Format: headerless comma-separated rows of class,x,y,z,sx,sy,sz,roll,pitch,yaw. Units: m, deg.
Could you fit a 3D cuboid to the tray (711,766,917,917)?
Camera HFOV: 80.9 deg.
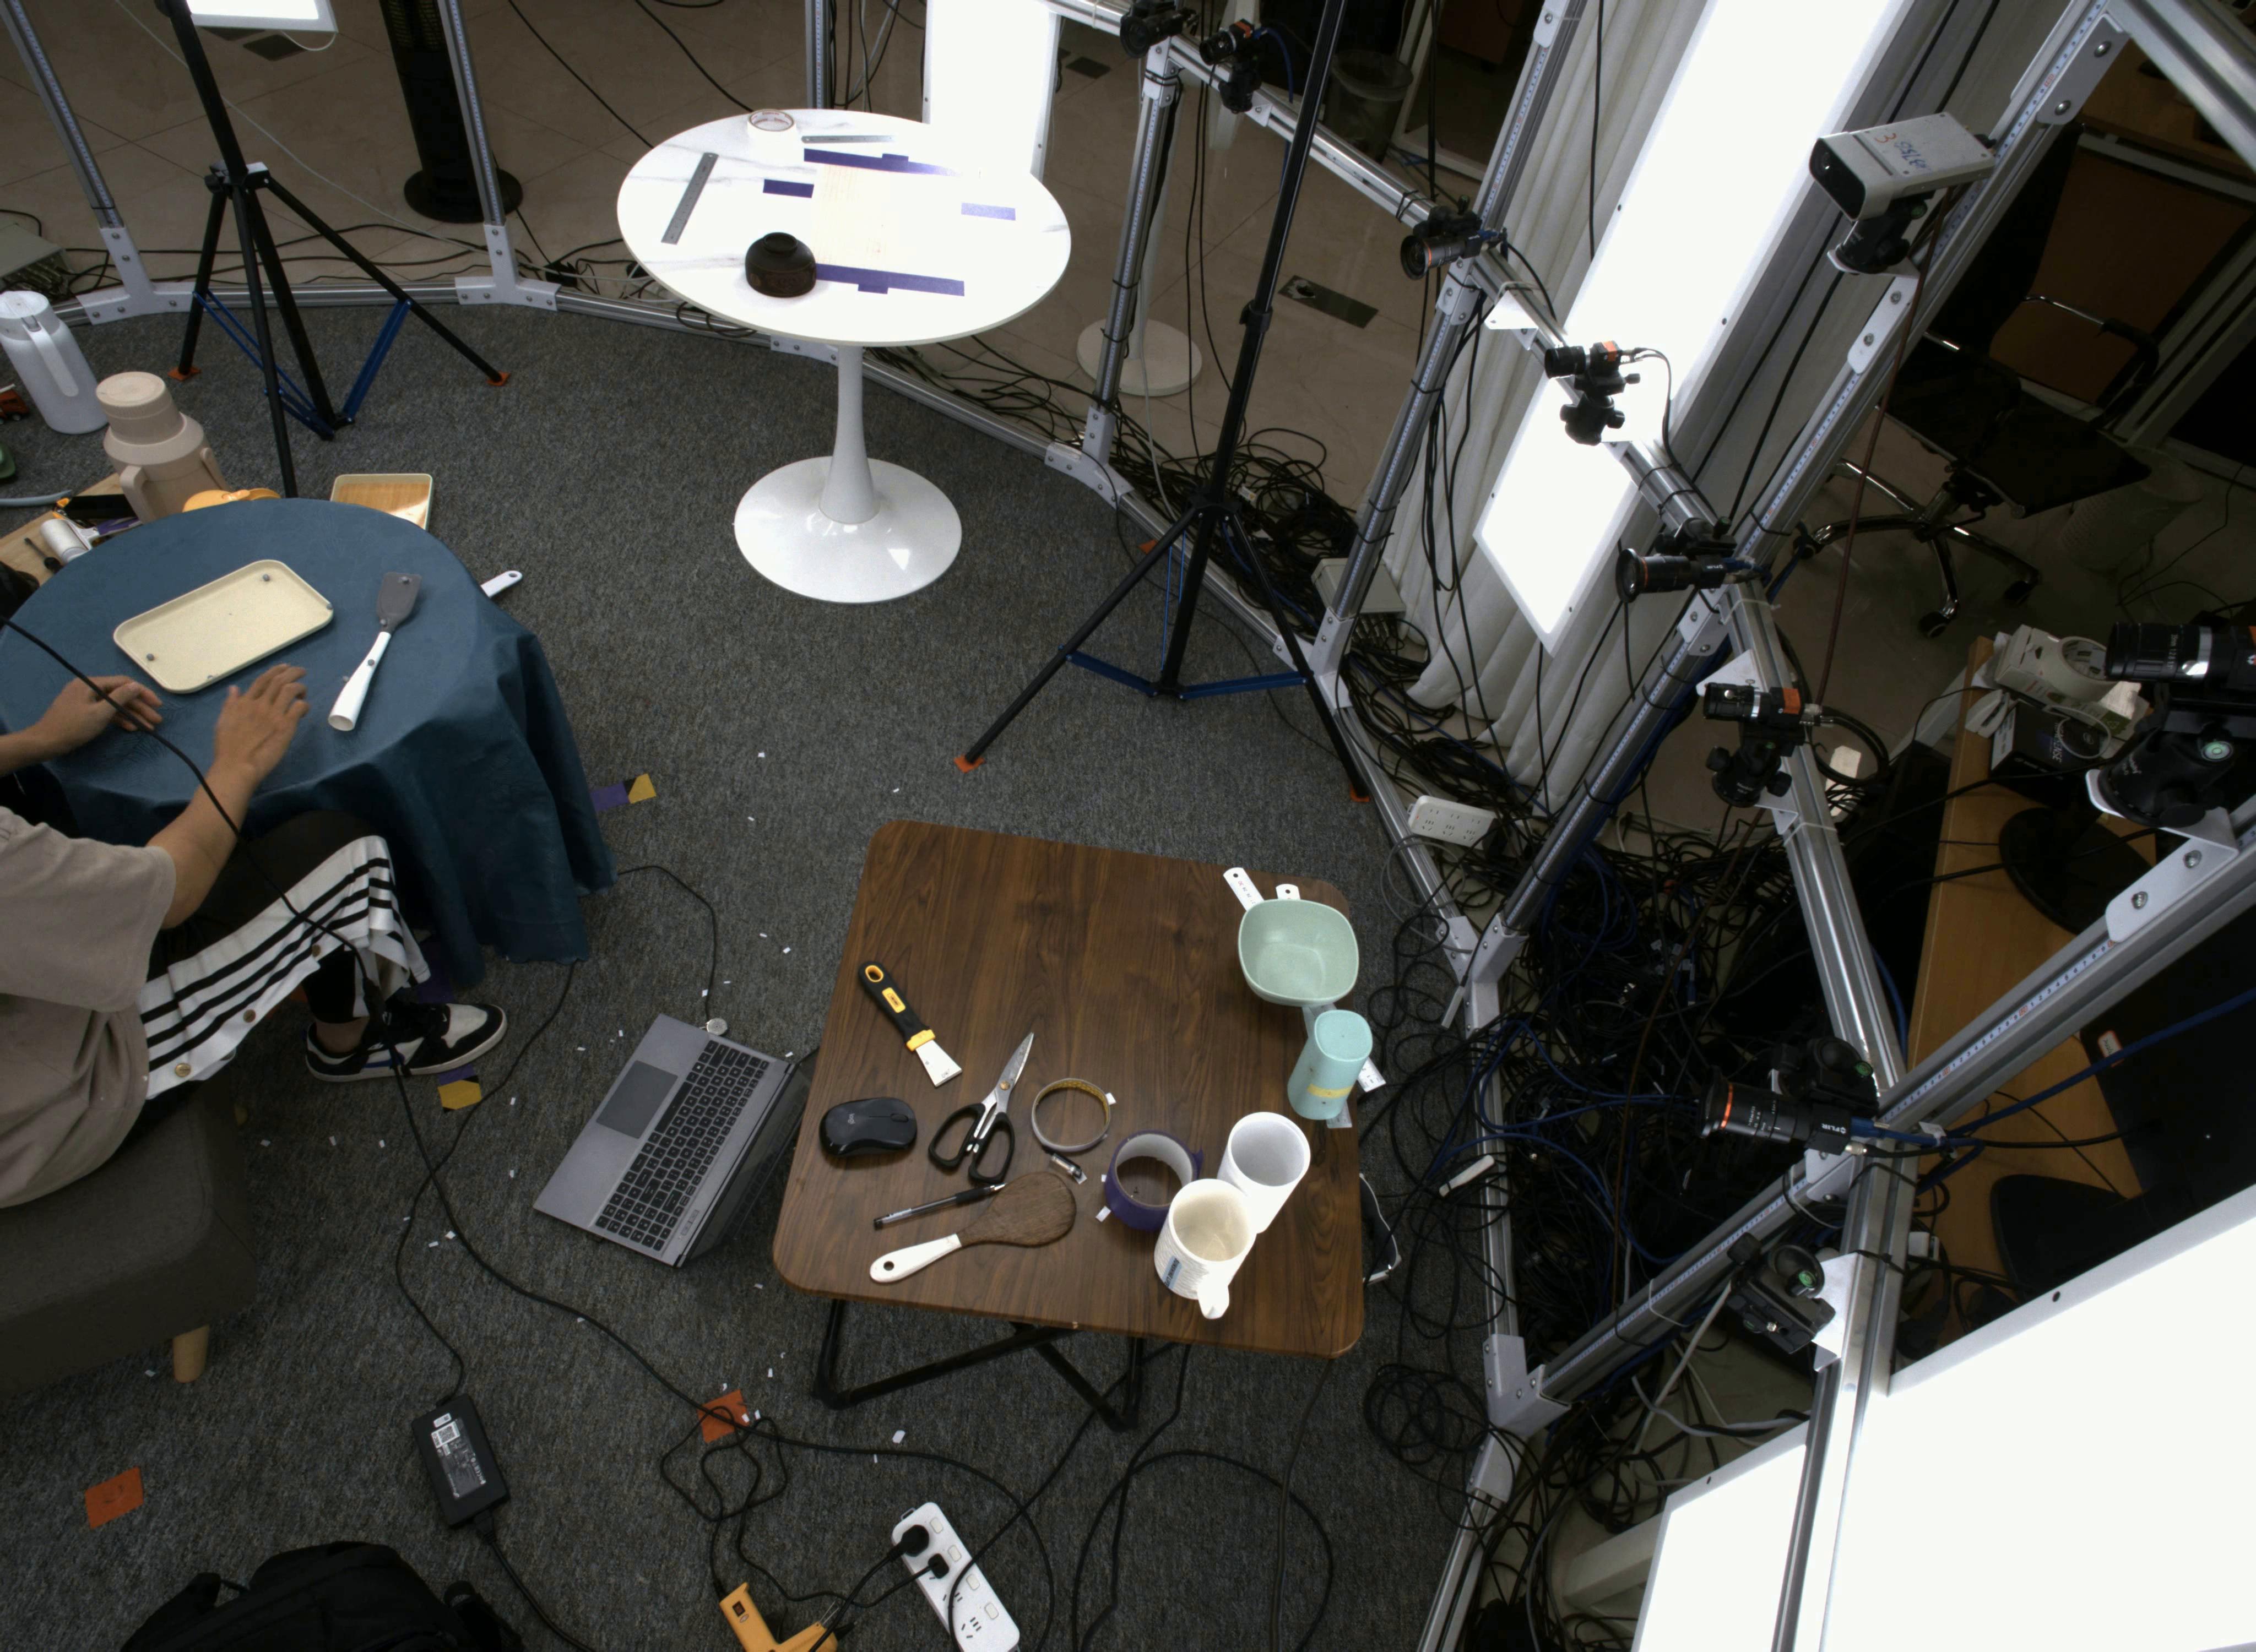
tray,-0.413,0.018,1.713,0.240,0.018,0.167,-28,63,-29

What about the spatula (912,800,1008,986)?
spatula,-0.221,0.081,1.700,0.058,0.033,0.284,14,52,3
